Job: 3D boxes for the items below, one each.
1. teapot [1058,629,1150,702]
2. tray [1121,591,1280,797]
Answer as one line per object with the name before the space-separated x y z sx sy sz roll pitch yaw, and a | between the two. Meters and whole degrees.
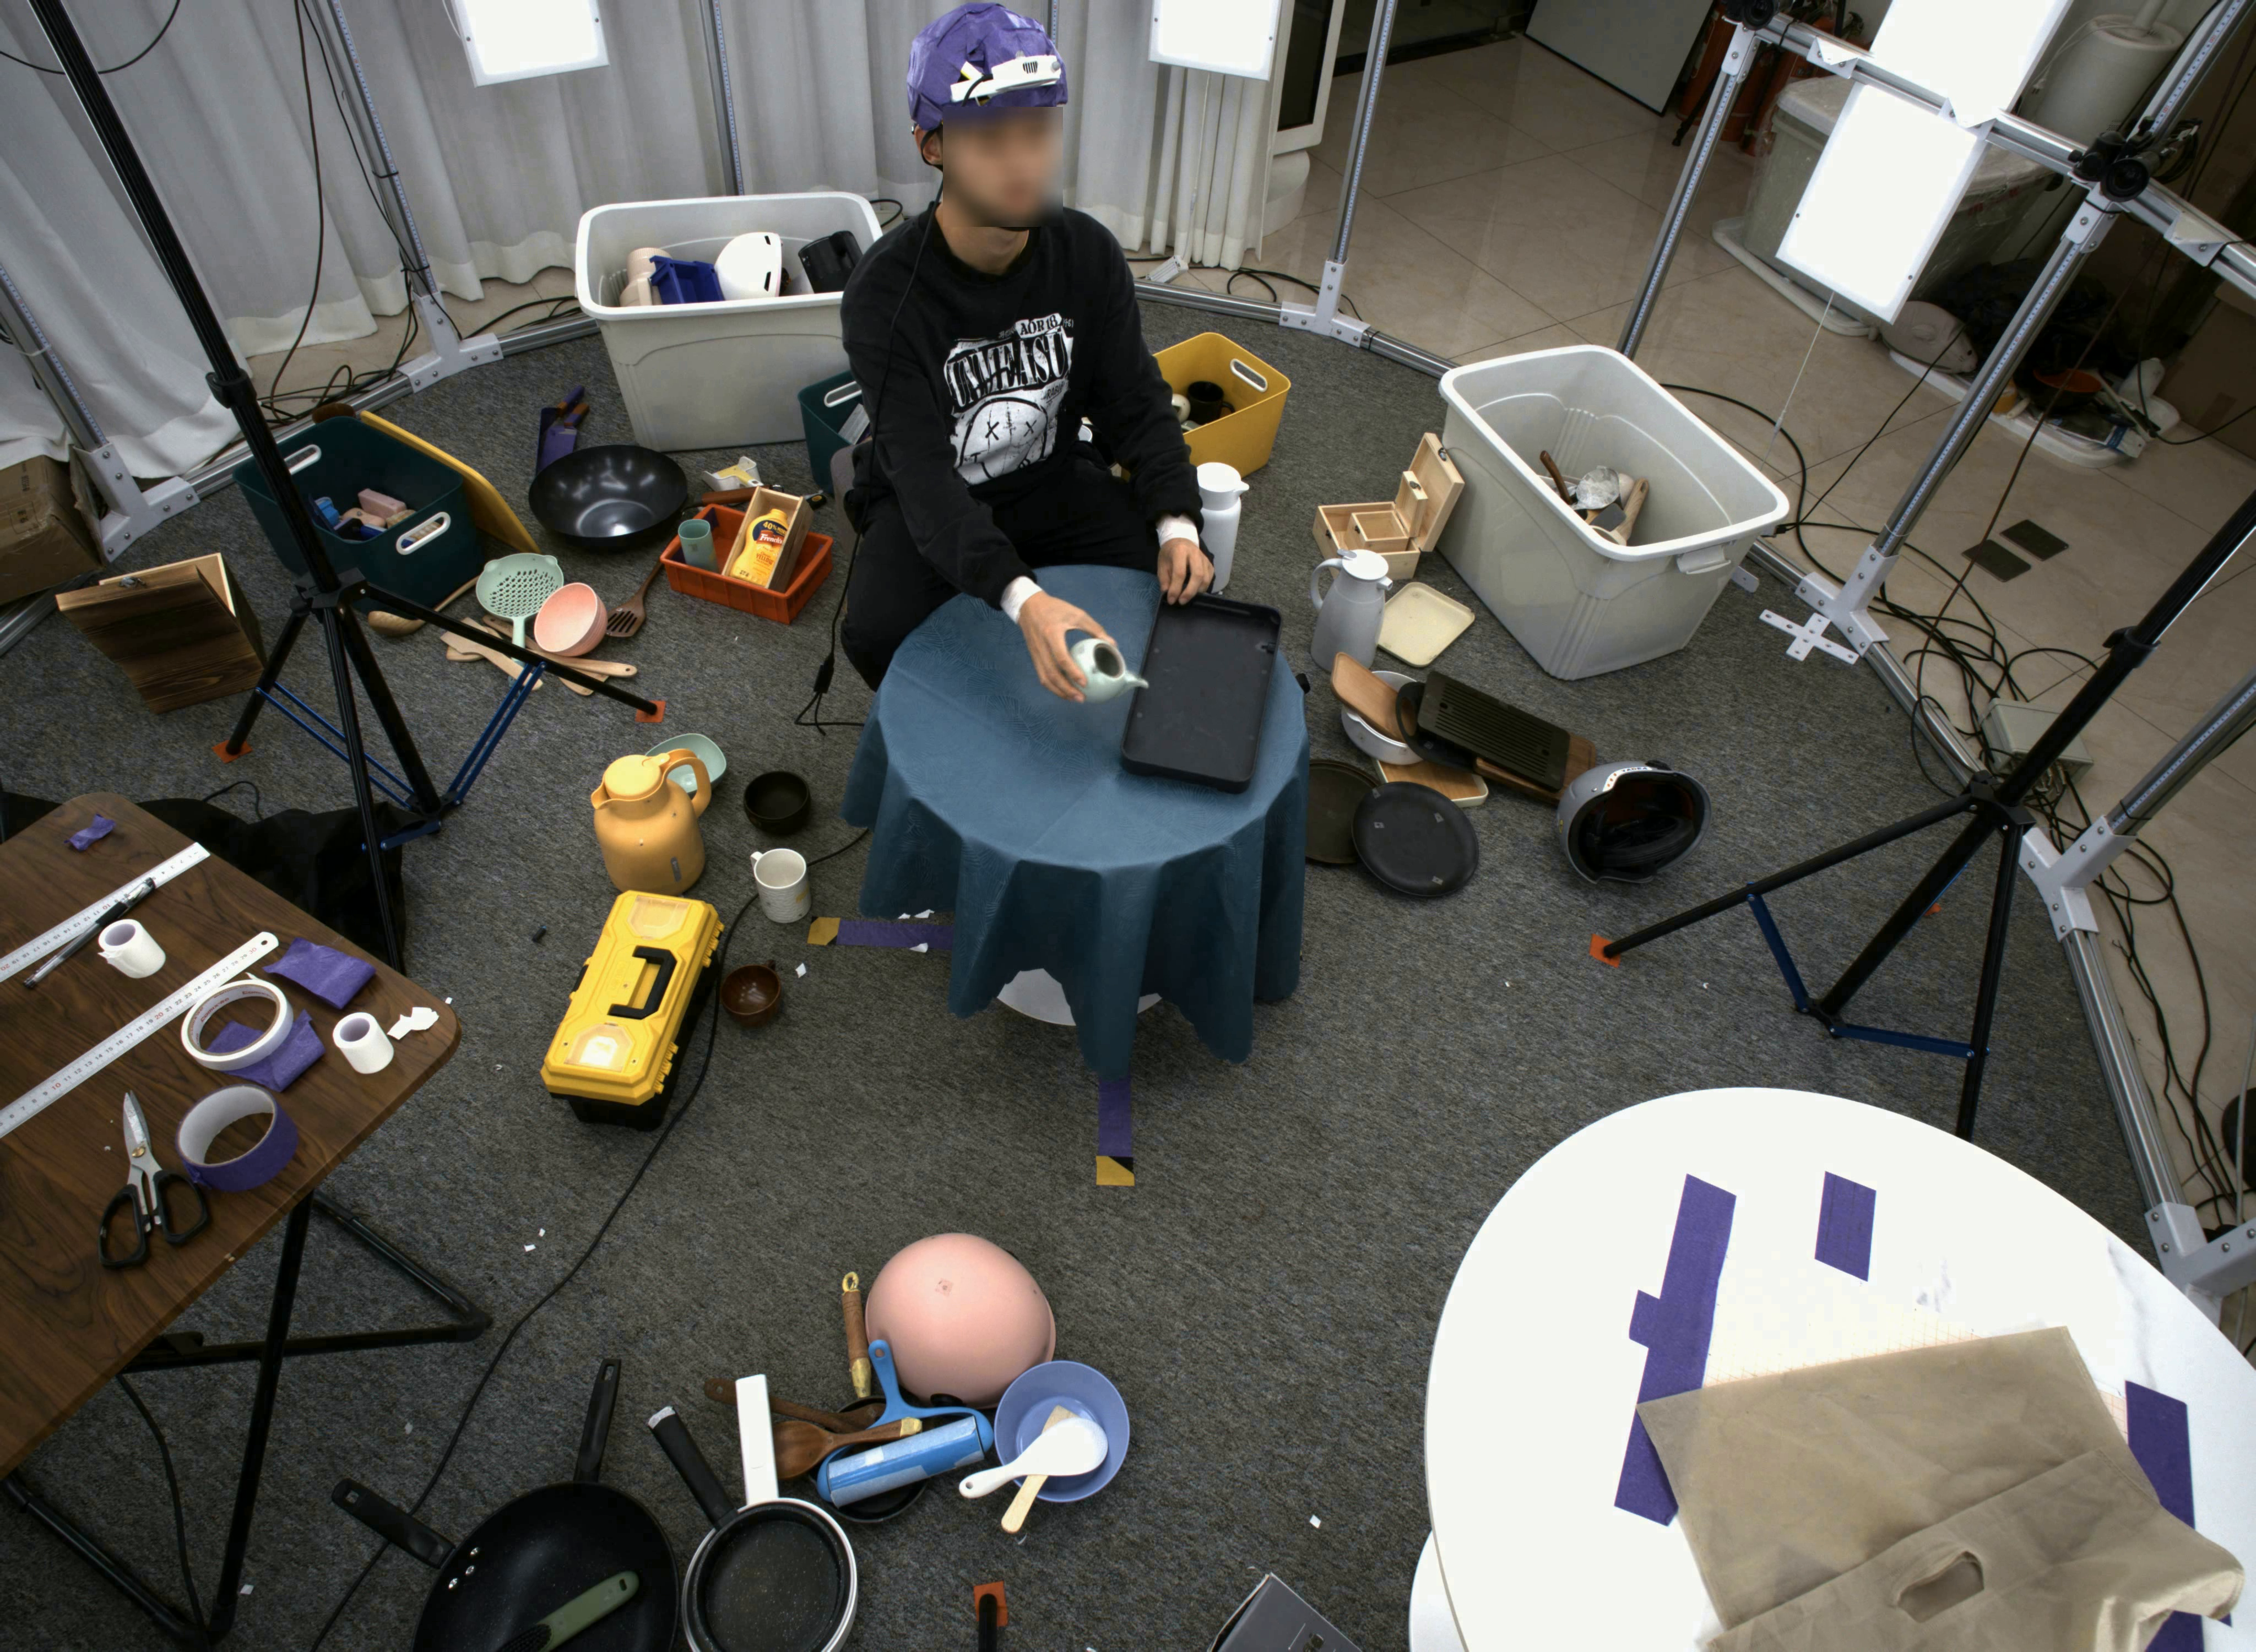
teapot | -0.042 -0.211 1.717 0.141 0.074 0.090 34 45 -31
tray | 0.104 -0.190 1.793 0.184 0.036 0.325 10 56 4
